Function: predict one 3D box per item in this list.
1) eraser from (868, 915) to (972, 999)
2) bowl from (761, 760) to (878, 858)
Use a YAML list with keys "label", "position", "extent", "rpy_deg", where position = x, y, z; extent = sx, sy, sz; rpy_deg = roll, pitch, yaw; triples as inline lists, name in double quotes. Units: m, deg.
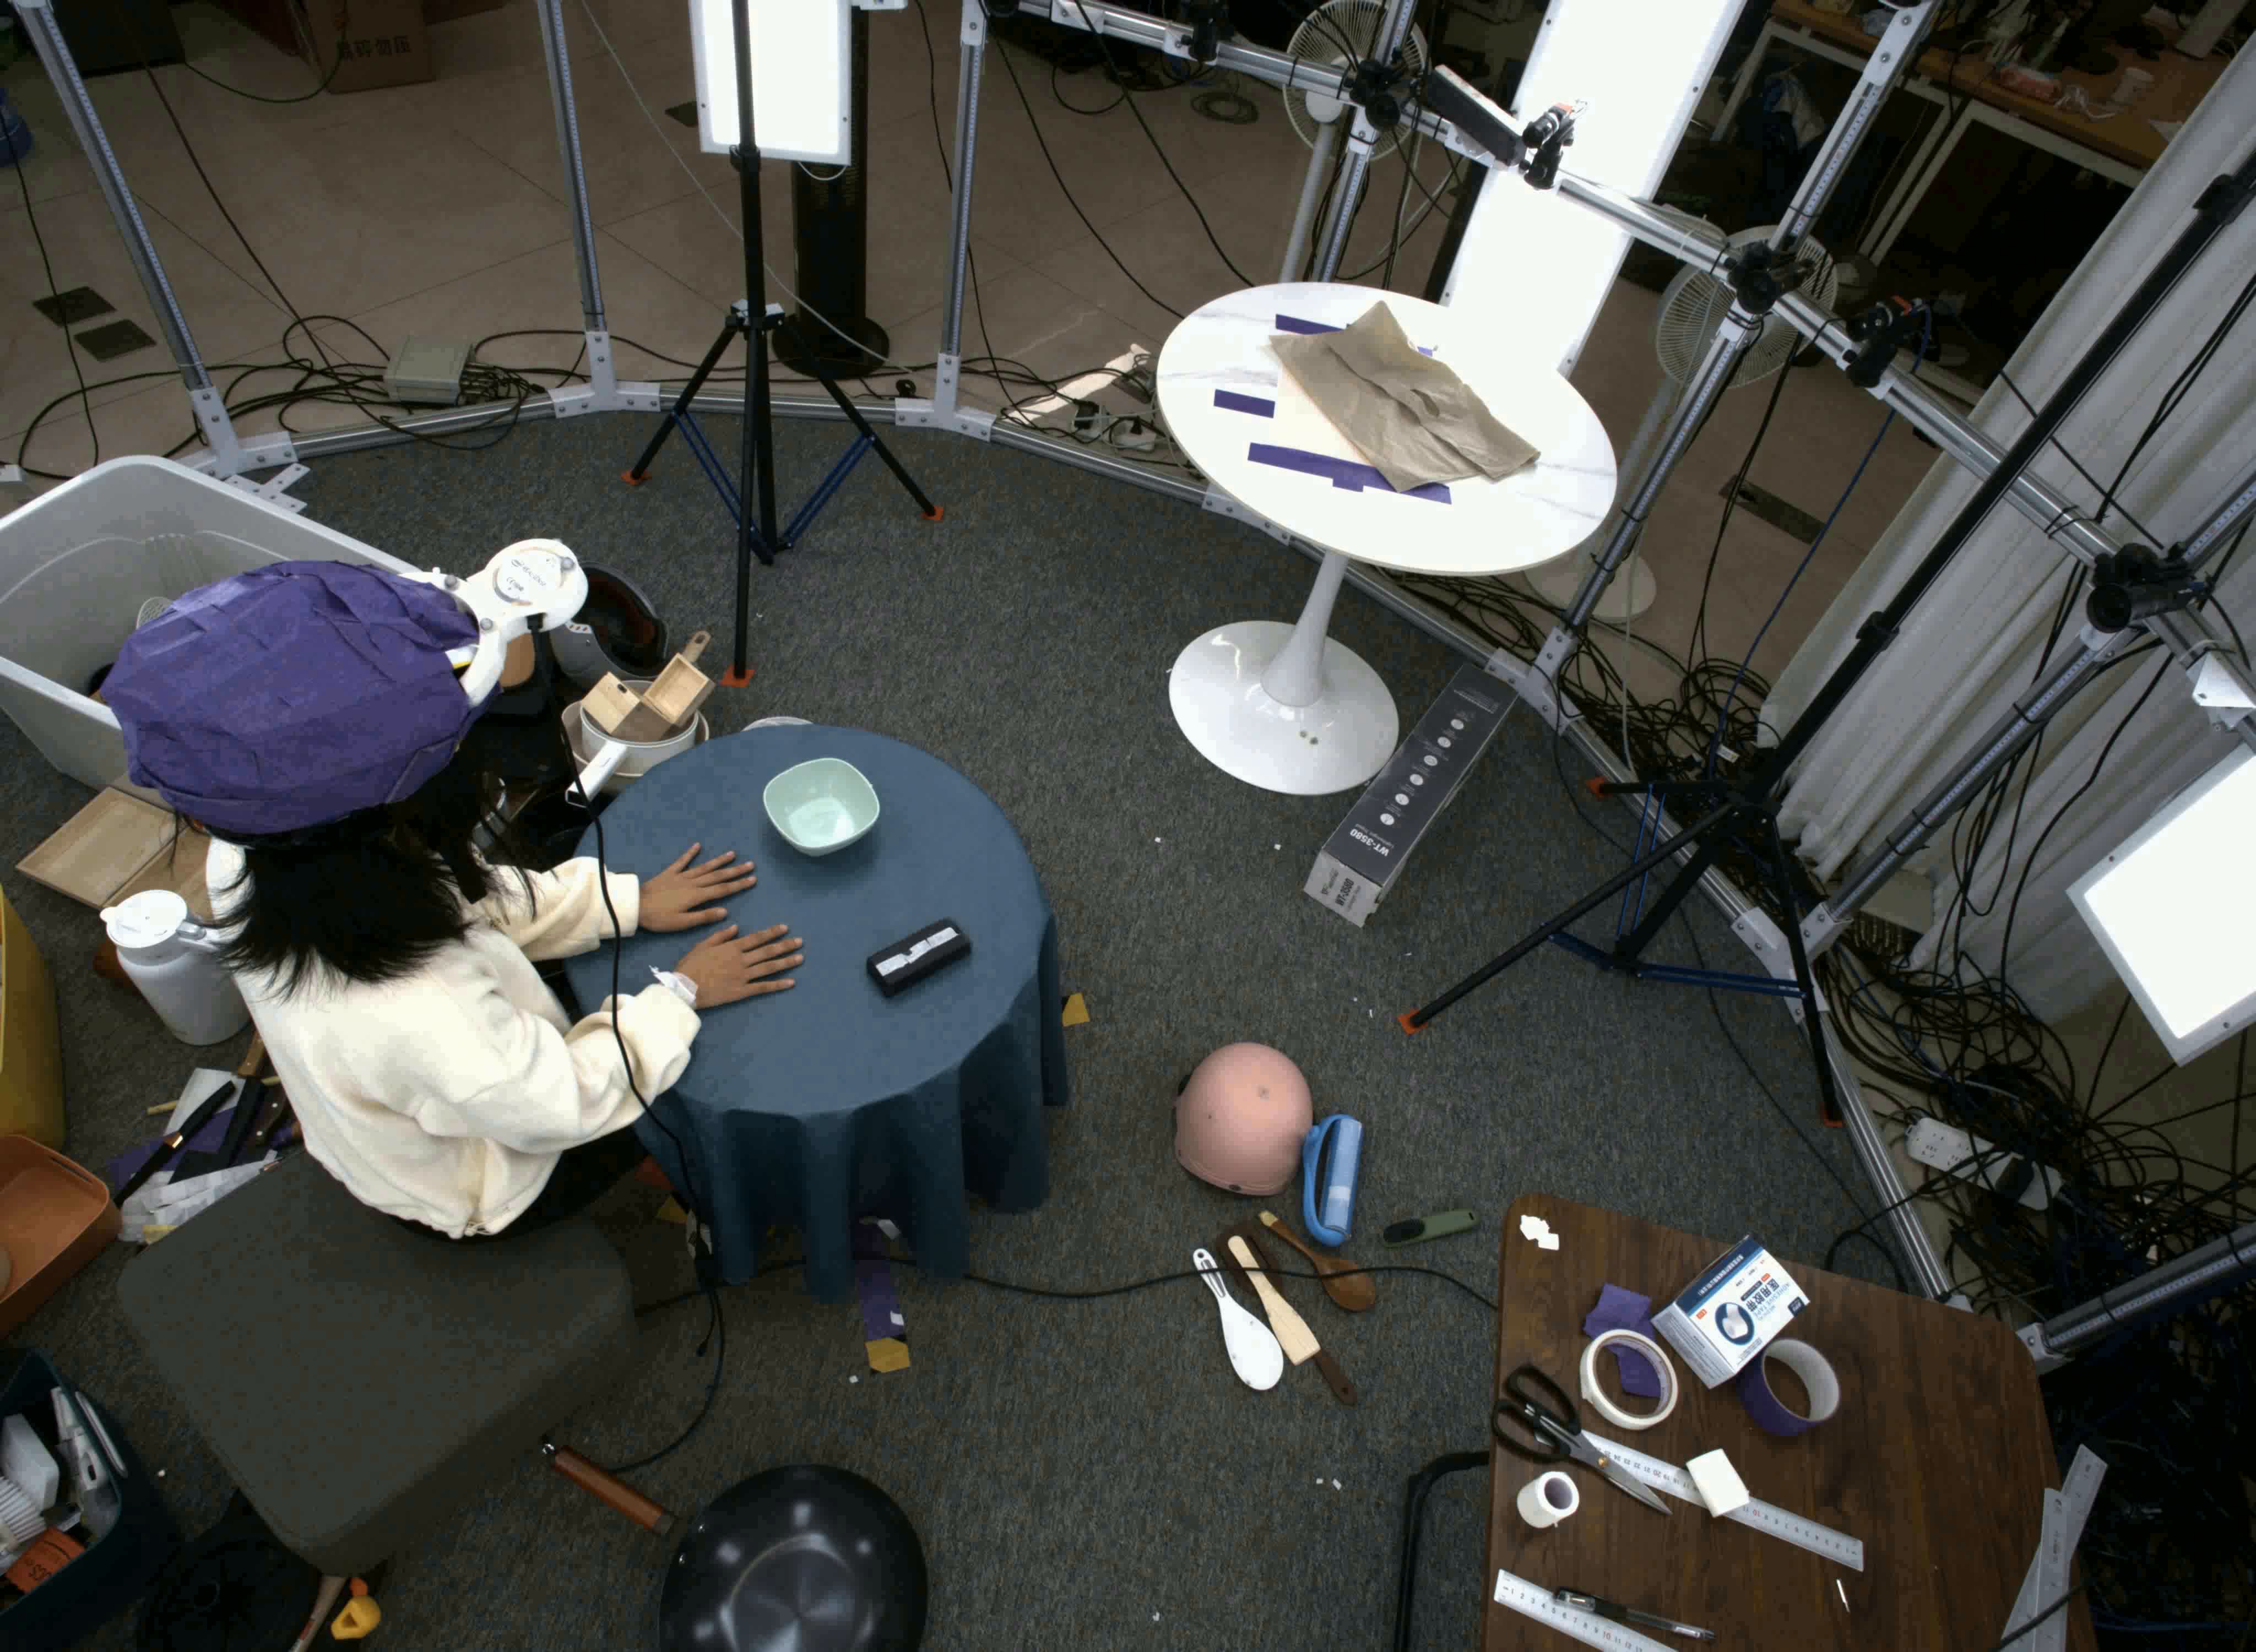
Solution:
- label: "eraser"
  position: [-0.259, 0.160, 1.626]
  extent: [0.126, 0.031, 0.052]
  rpy_deg: [-31, 64, -29]
- label: "bowl"
  position: [-0.403, -0.014, 1.699]
  extent: [0.151, 0.060, 0.148]
  rpy_deg: [7, 50, -7]
